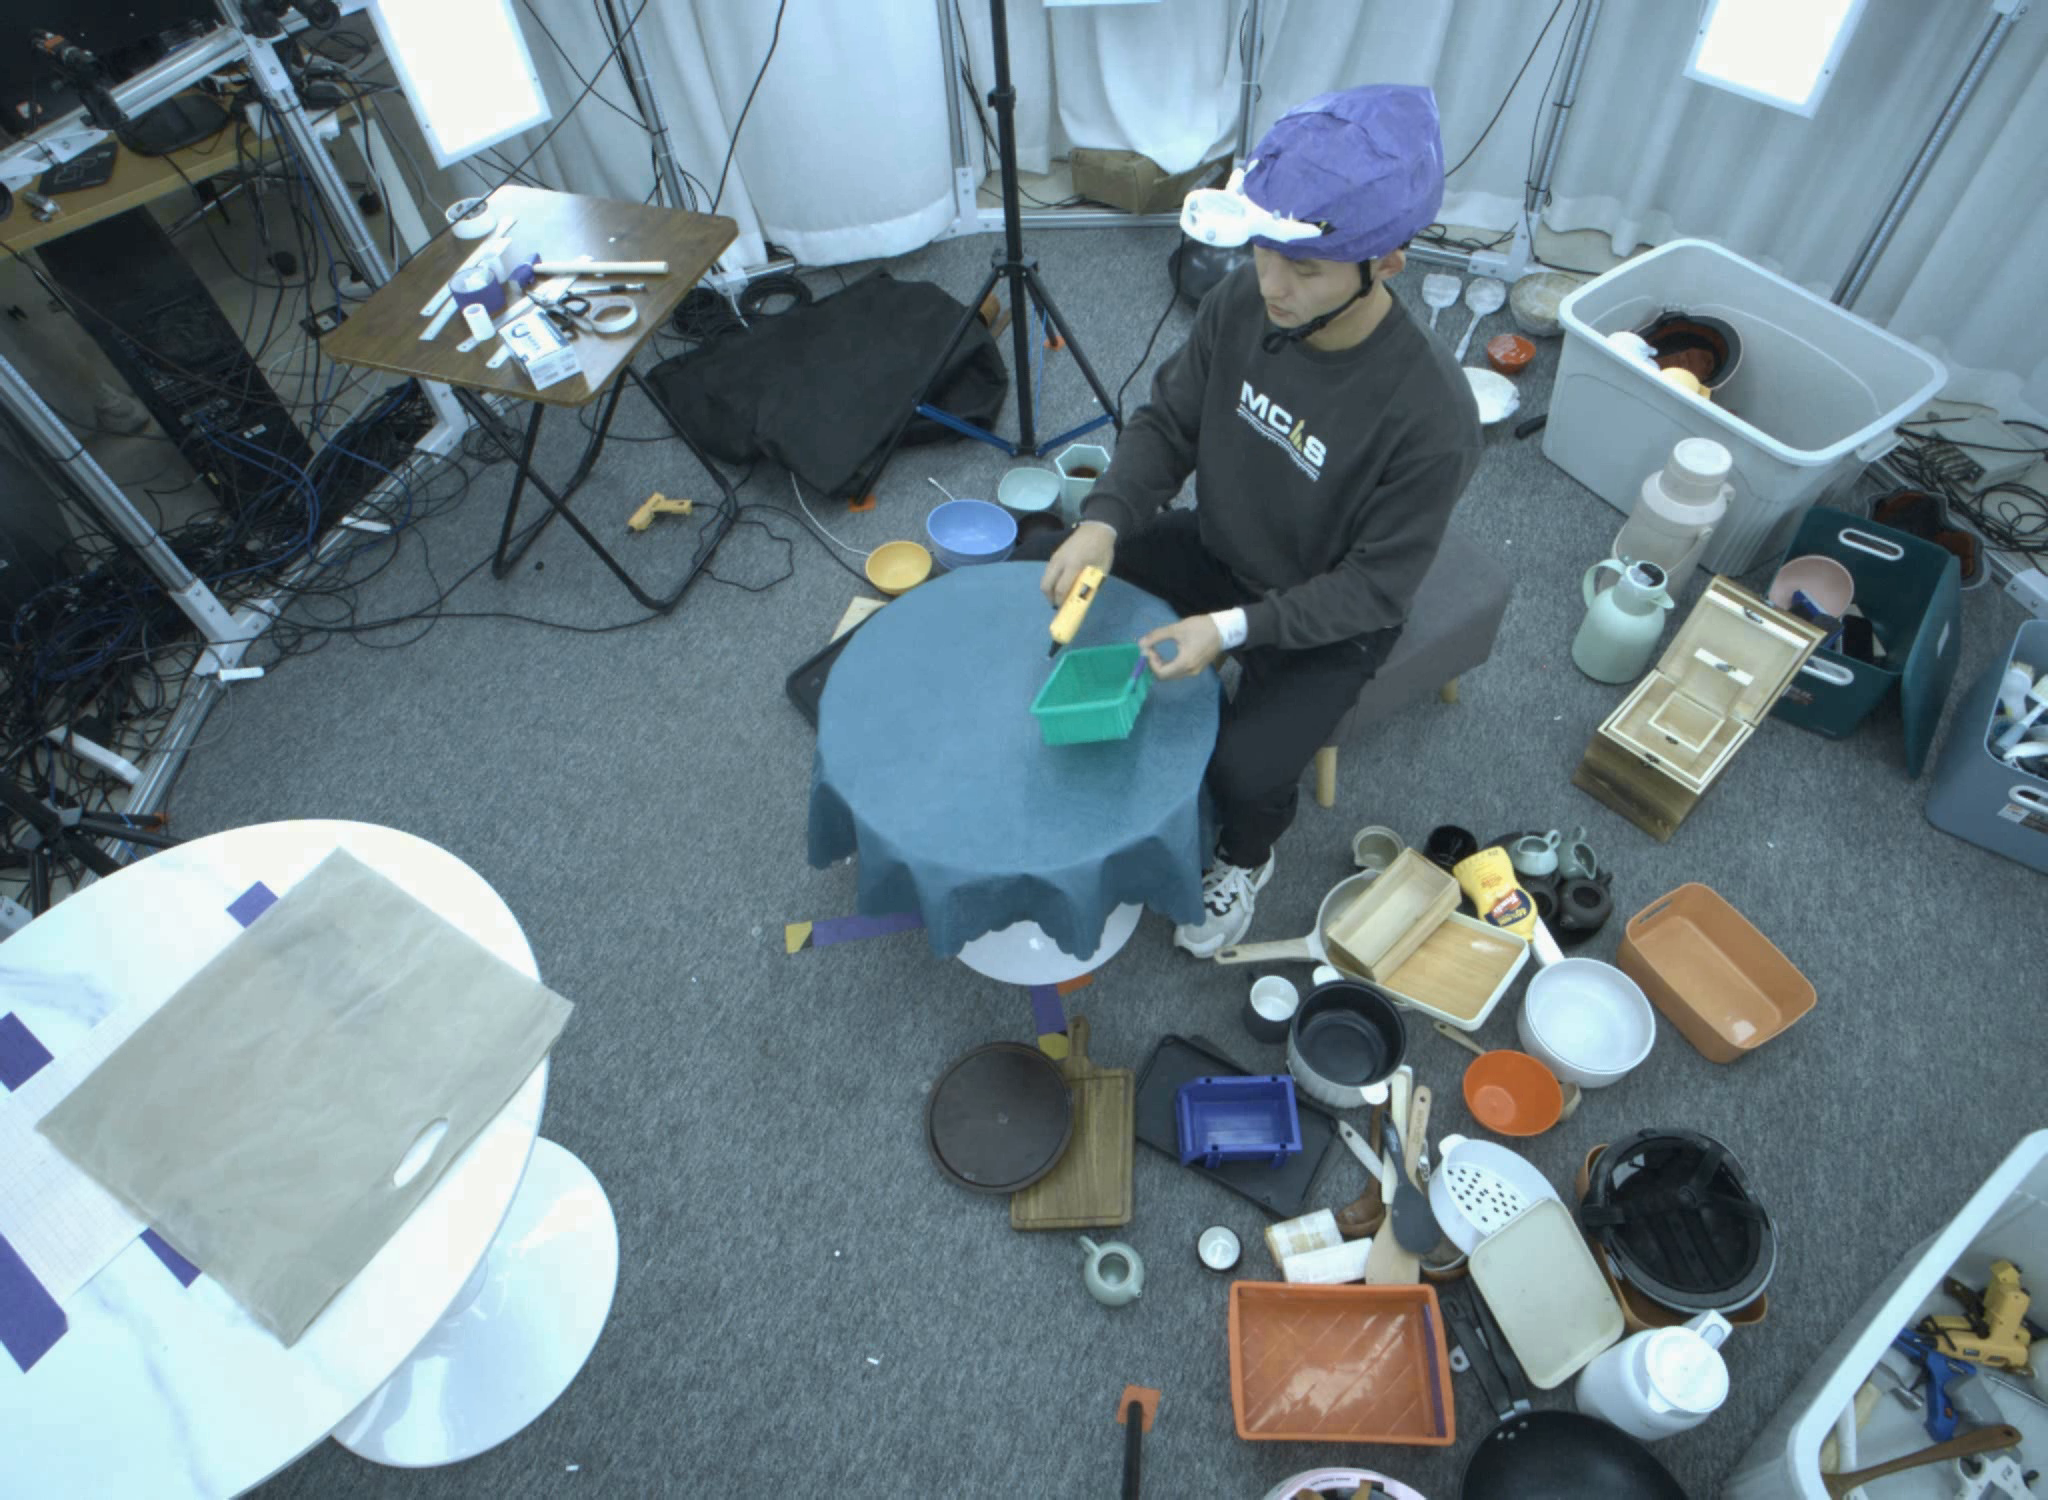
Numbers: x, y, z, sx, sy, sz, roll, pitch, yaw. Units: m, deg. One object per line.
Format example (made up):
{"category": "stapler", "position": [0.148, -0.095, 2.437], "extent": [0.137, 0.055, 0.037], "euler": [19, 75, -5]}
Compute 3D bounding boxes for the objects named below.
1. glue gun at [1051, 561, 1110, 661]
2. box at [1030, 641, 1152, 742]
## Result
{"category": "glue gun", "position": [0.056, -0.204, 1.799], "extent": [0.151, 0.032, 0.130], "euler": [-64, 28, 1]}
{"category": "box", "position": [0.102, -0.083, 1.745], "extent": [0.137, 0.066, 0.210], "euler": [-4, 25, 19]}
